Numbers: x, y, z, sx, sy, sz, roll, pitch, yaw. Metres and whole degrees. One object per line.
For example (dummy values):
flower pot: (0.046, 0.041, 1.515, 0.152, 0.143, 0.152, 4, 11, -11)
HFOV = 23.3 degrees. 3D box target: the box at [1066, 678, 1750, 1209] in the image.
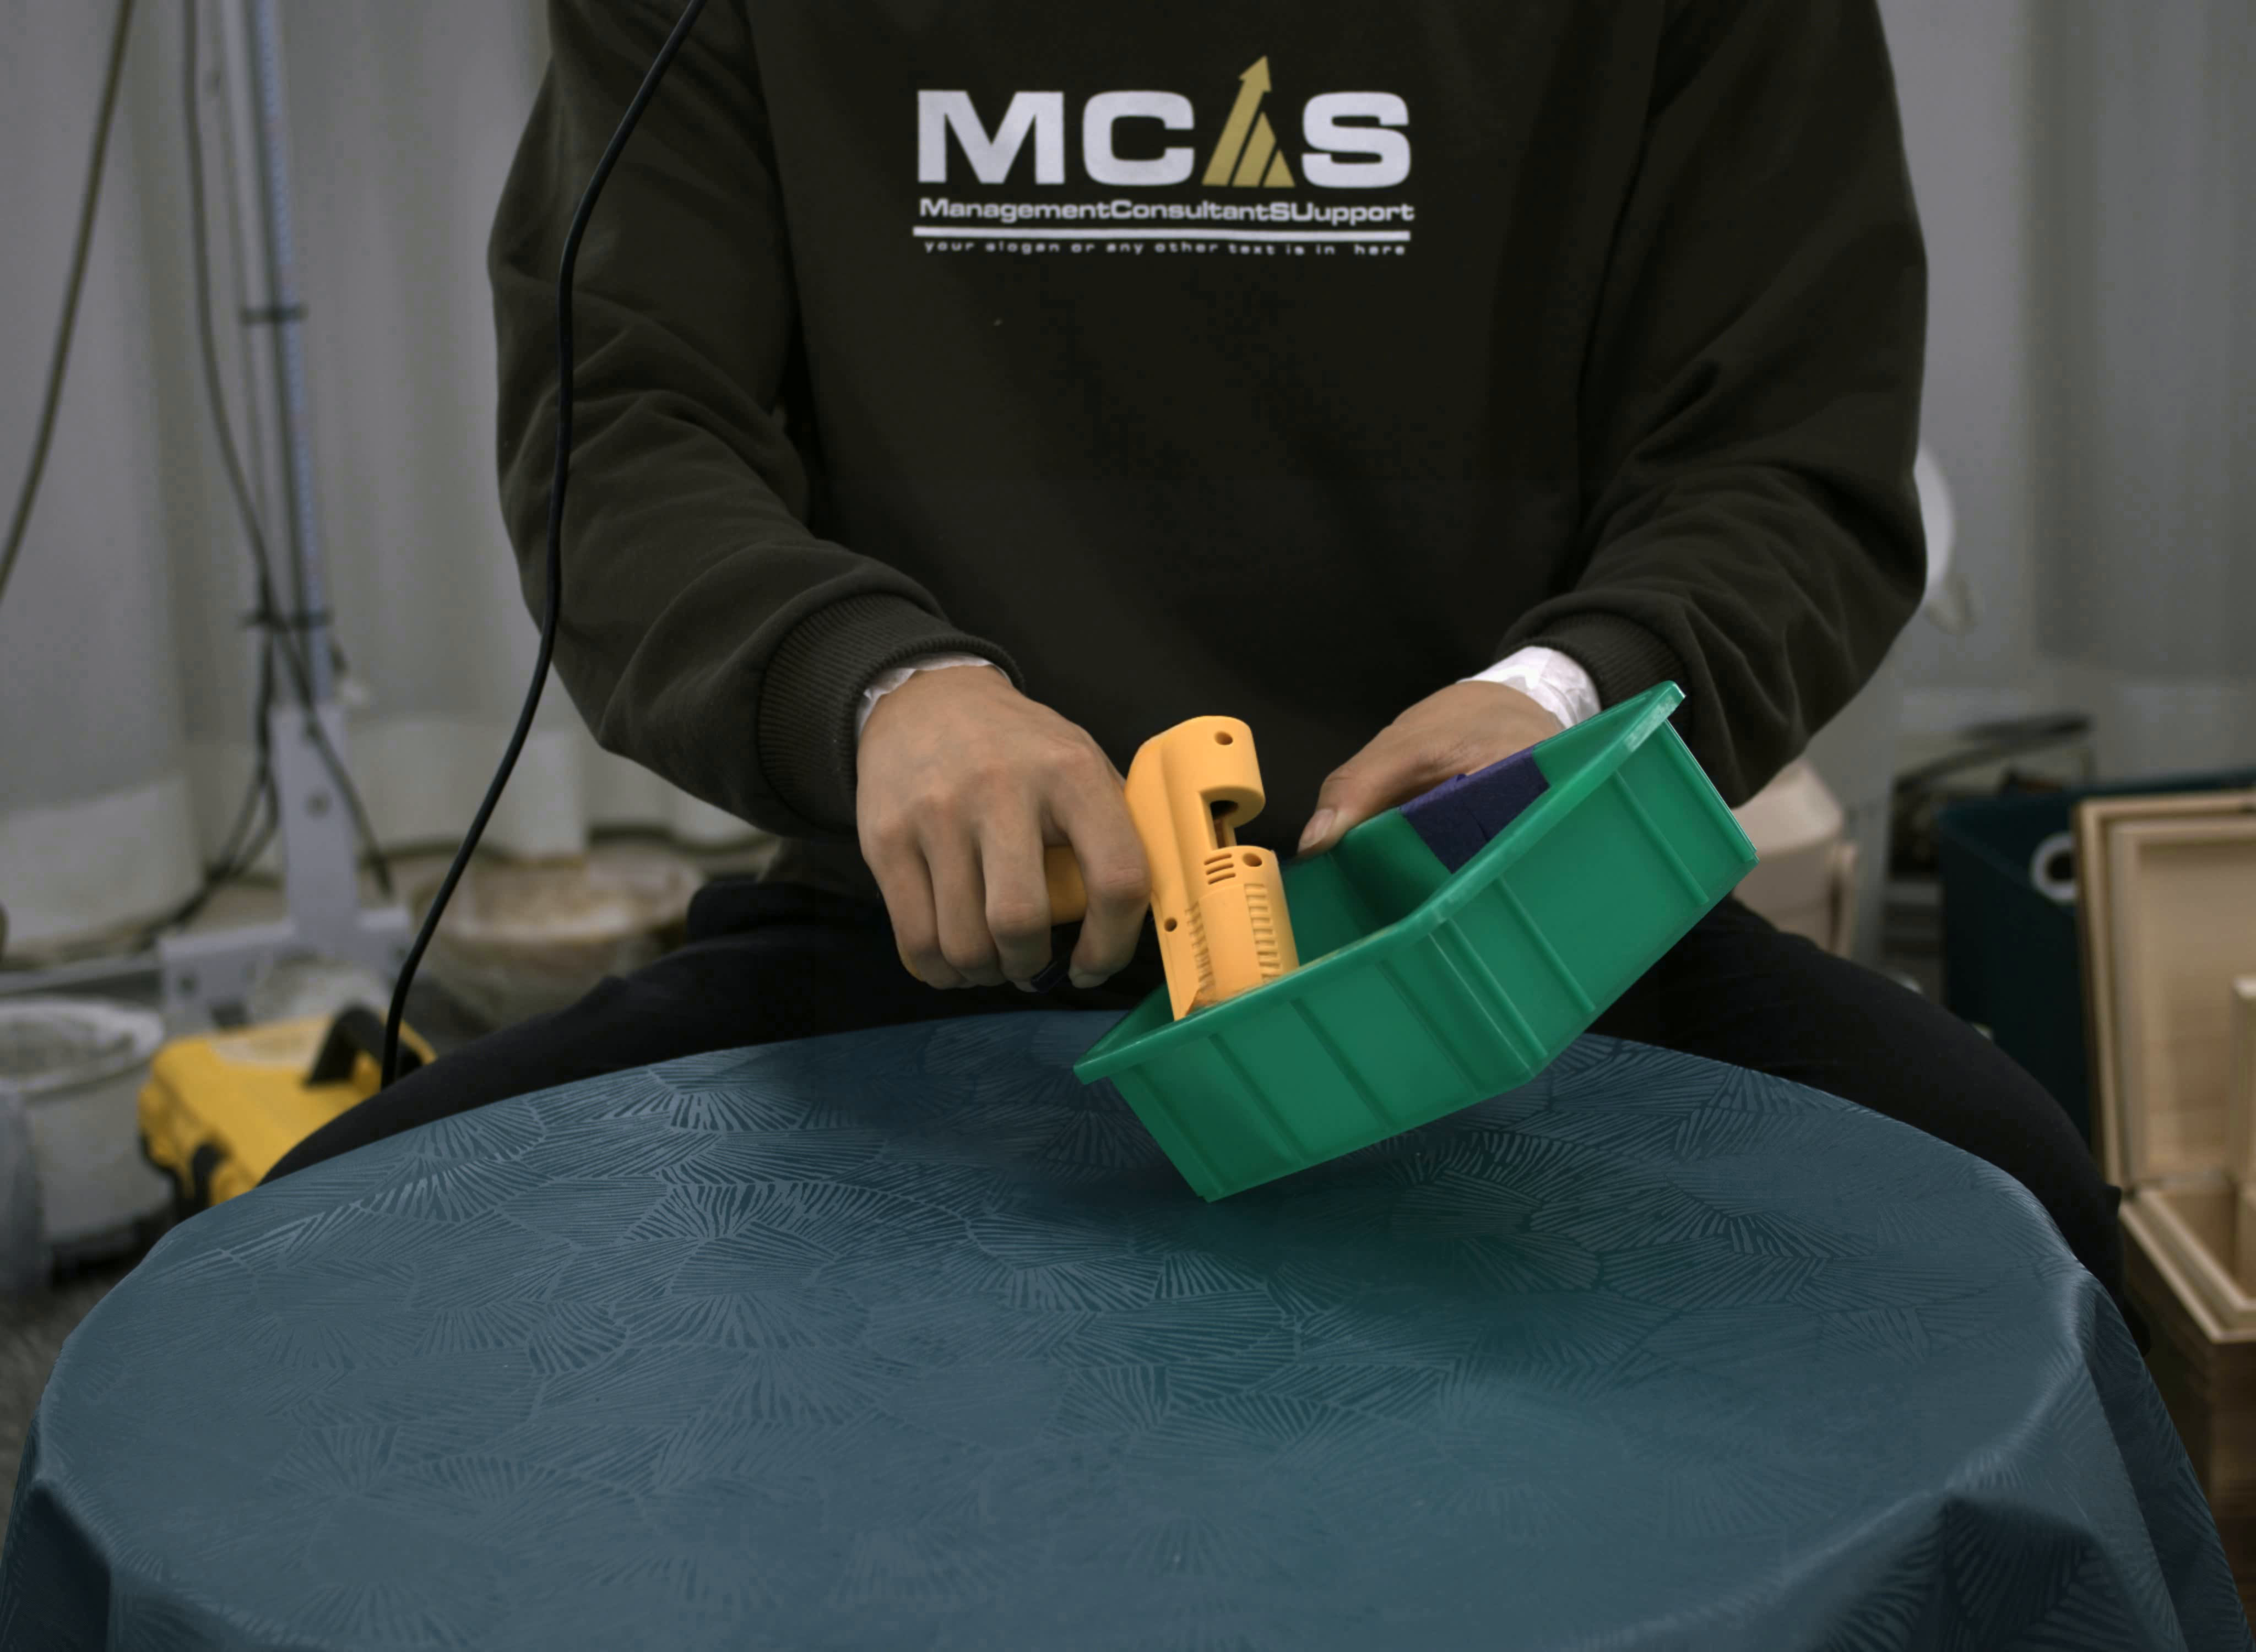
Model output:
box: (0.087, 0.041, 1.661, 0.139, 0.065, 0.209, -38, 4, -36)

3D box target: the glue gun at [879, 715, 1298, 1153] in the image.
glue gun: (-0.004, 0.052, 1.707, 0.132, 0.153, 0.031, -24, -32, 13)
